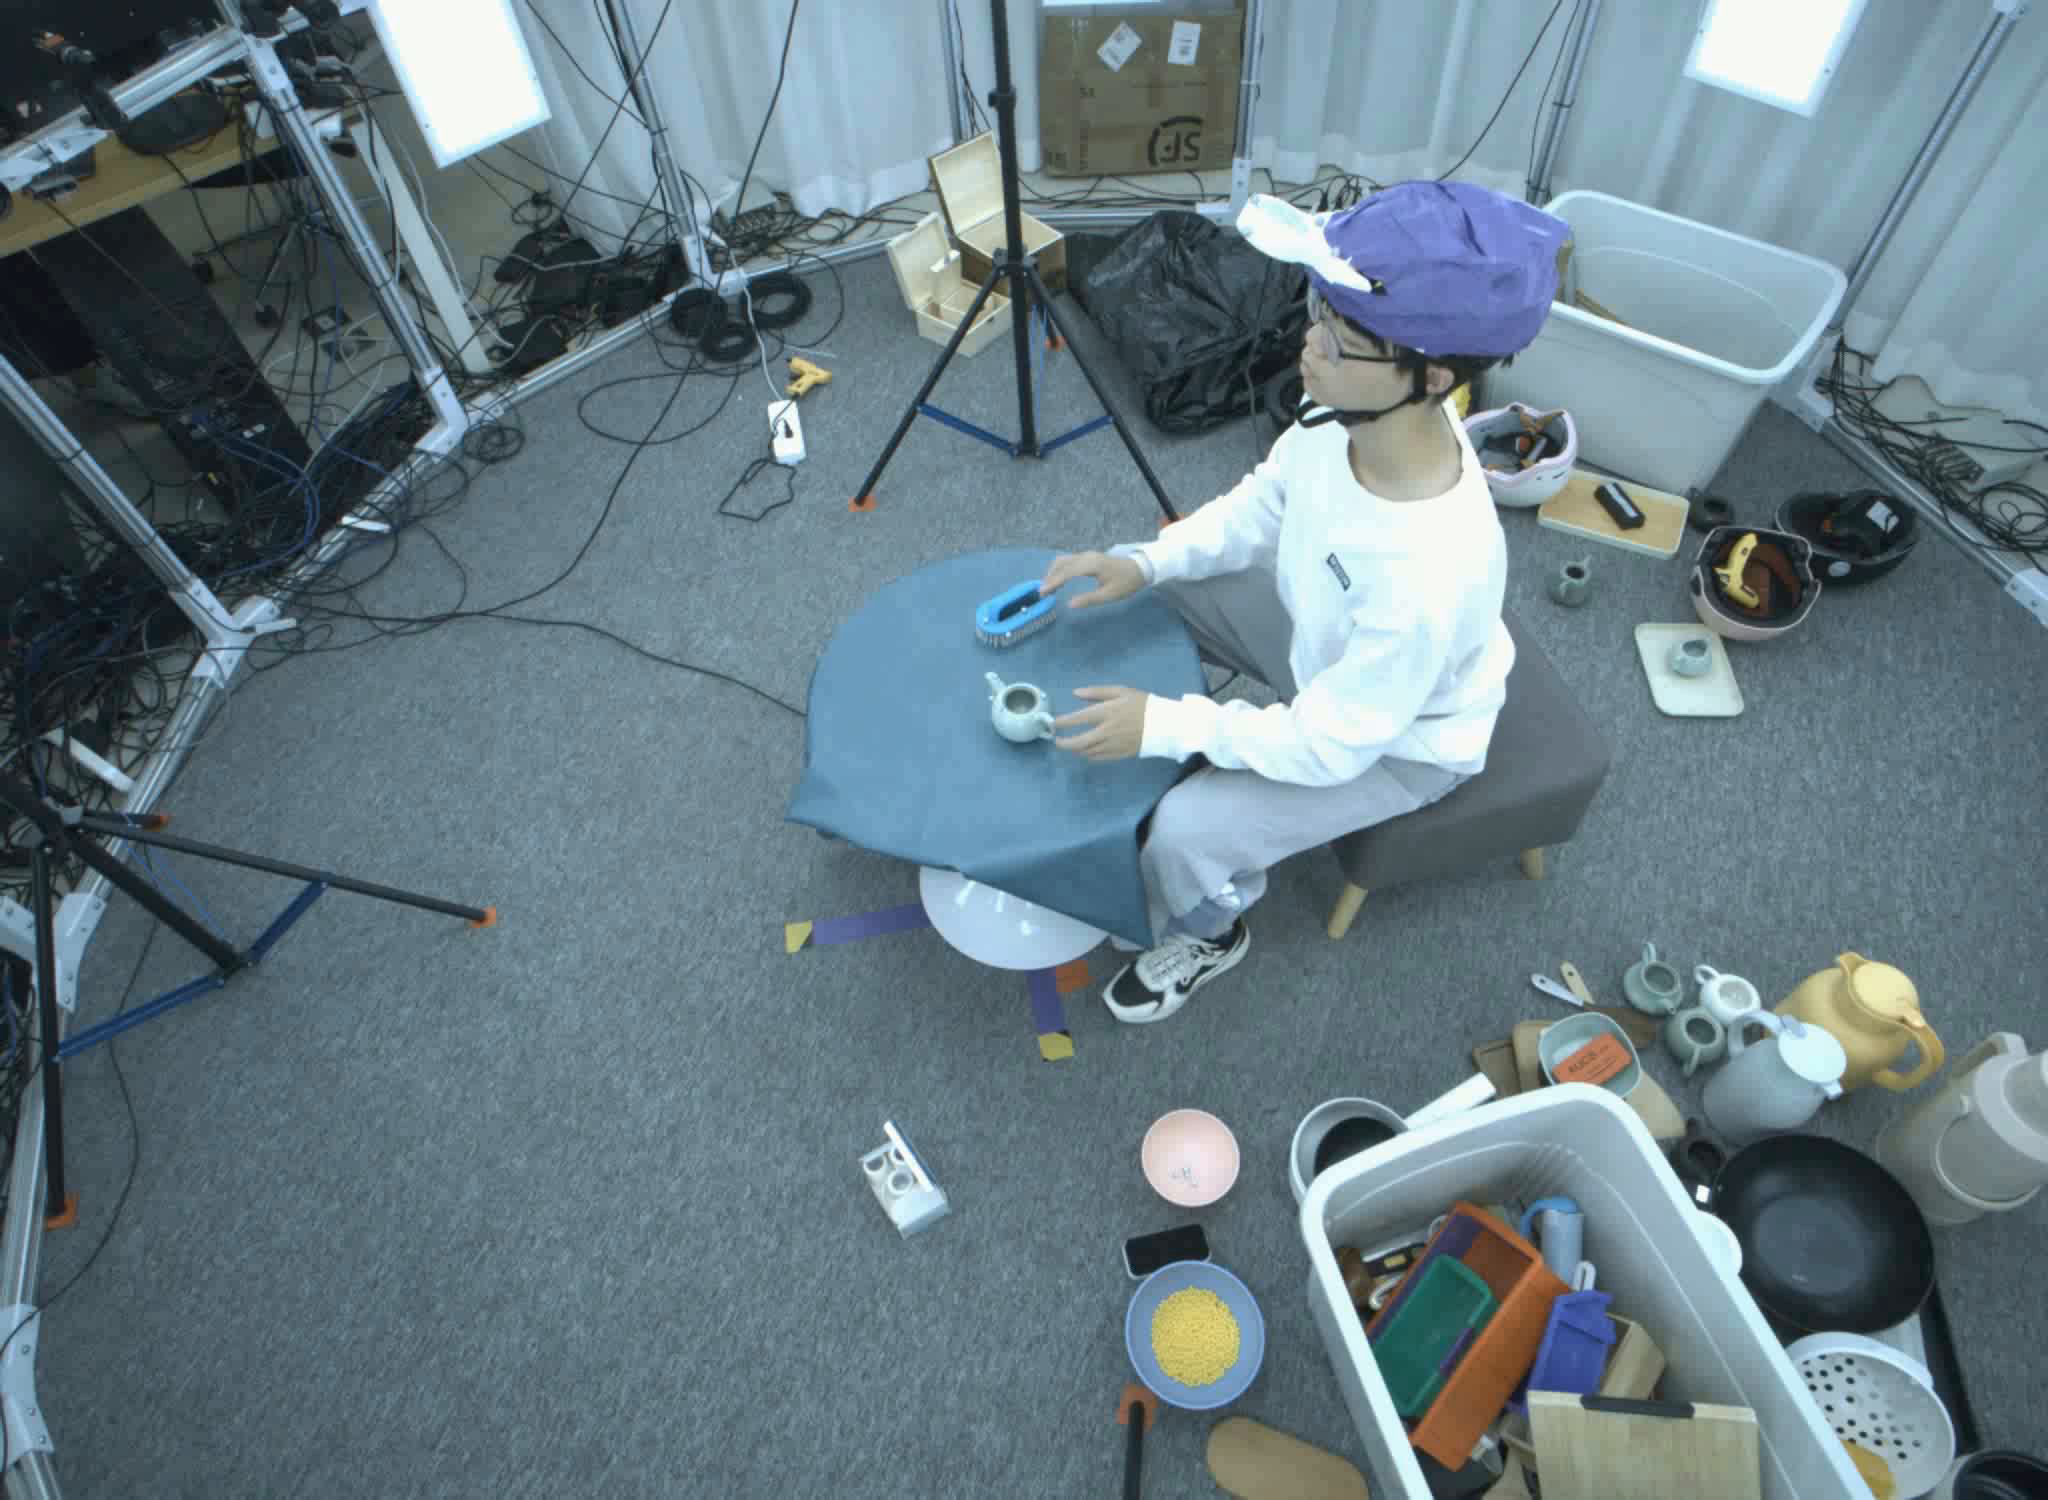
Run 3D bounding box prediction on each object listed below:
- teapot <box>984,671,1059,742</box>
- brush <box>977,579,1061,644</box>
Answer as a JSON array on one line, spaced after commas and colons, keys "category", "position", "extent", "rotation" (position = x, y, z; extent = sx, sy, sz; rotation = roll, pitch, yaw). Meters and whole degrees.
[{"category": "teapot", "position": [-0.004, -0.055, 1.780], "extent": [0.089, 0.075, 0.141], "rotation": [-38, 59, -24]}, {"category": "brush", "position": [-0.011, -0.226, 1.906], "extent": [0.143, 0.064, 0.082], "rotation": [-29, 54, -18]}]
